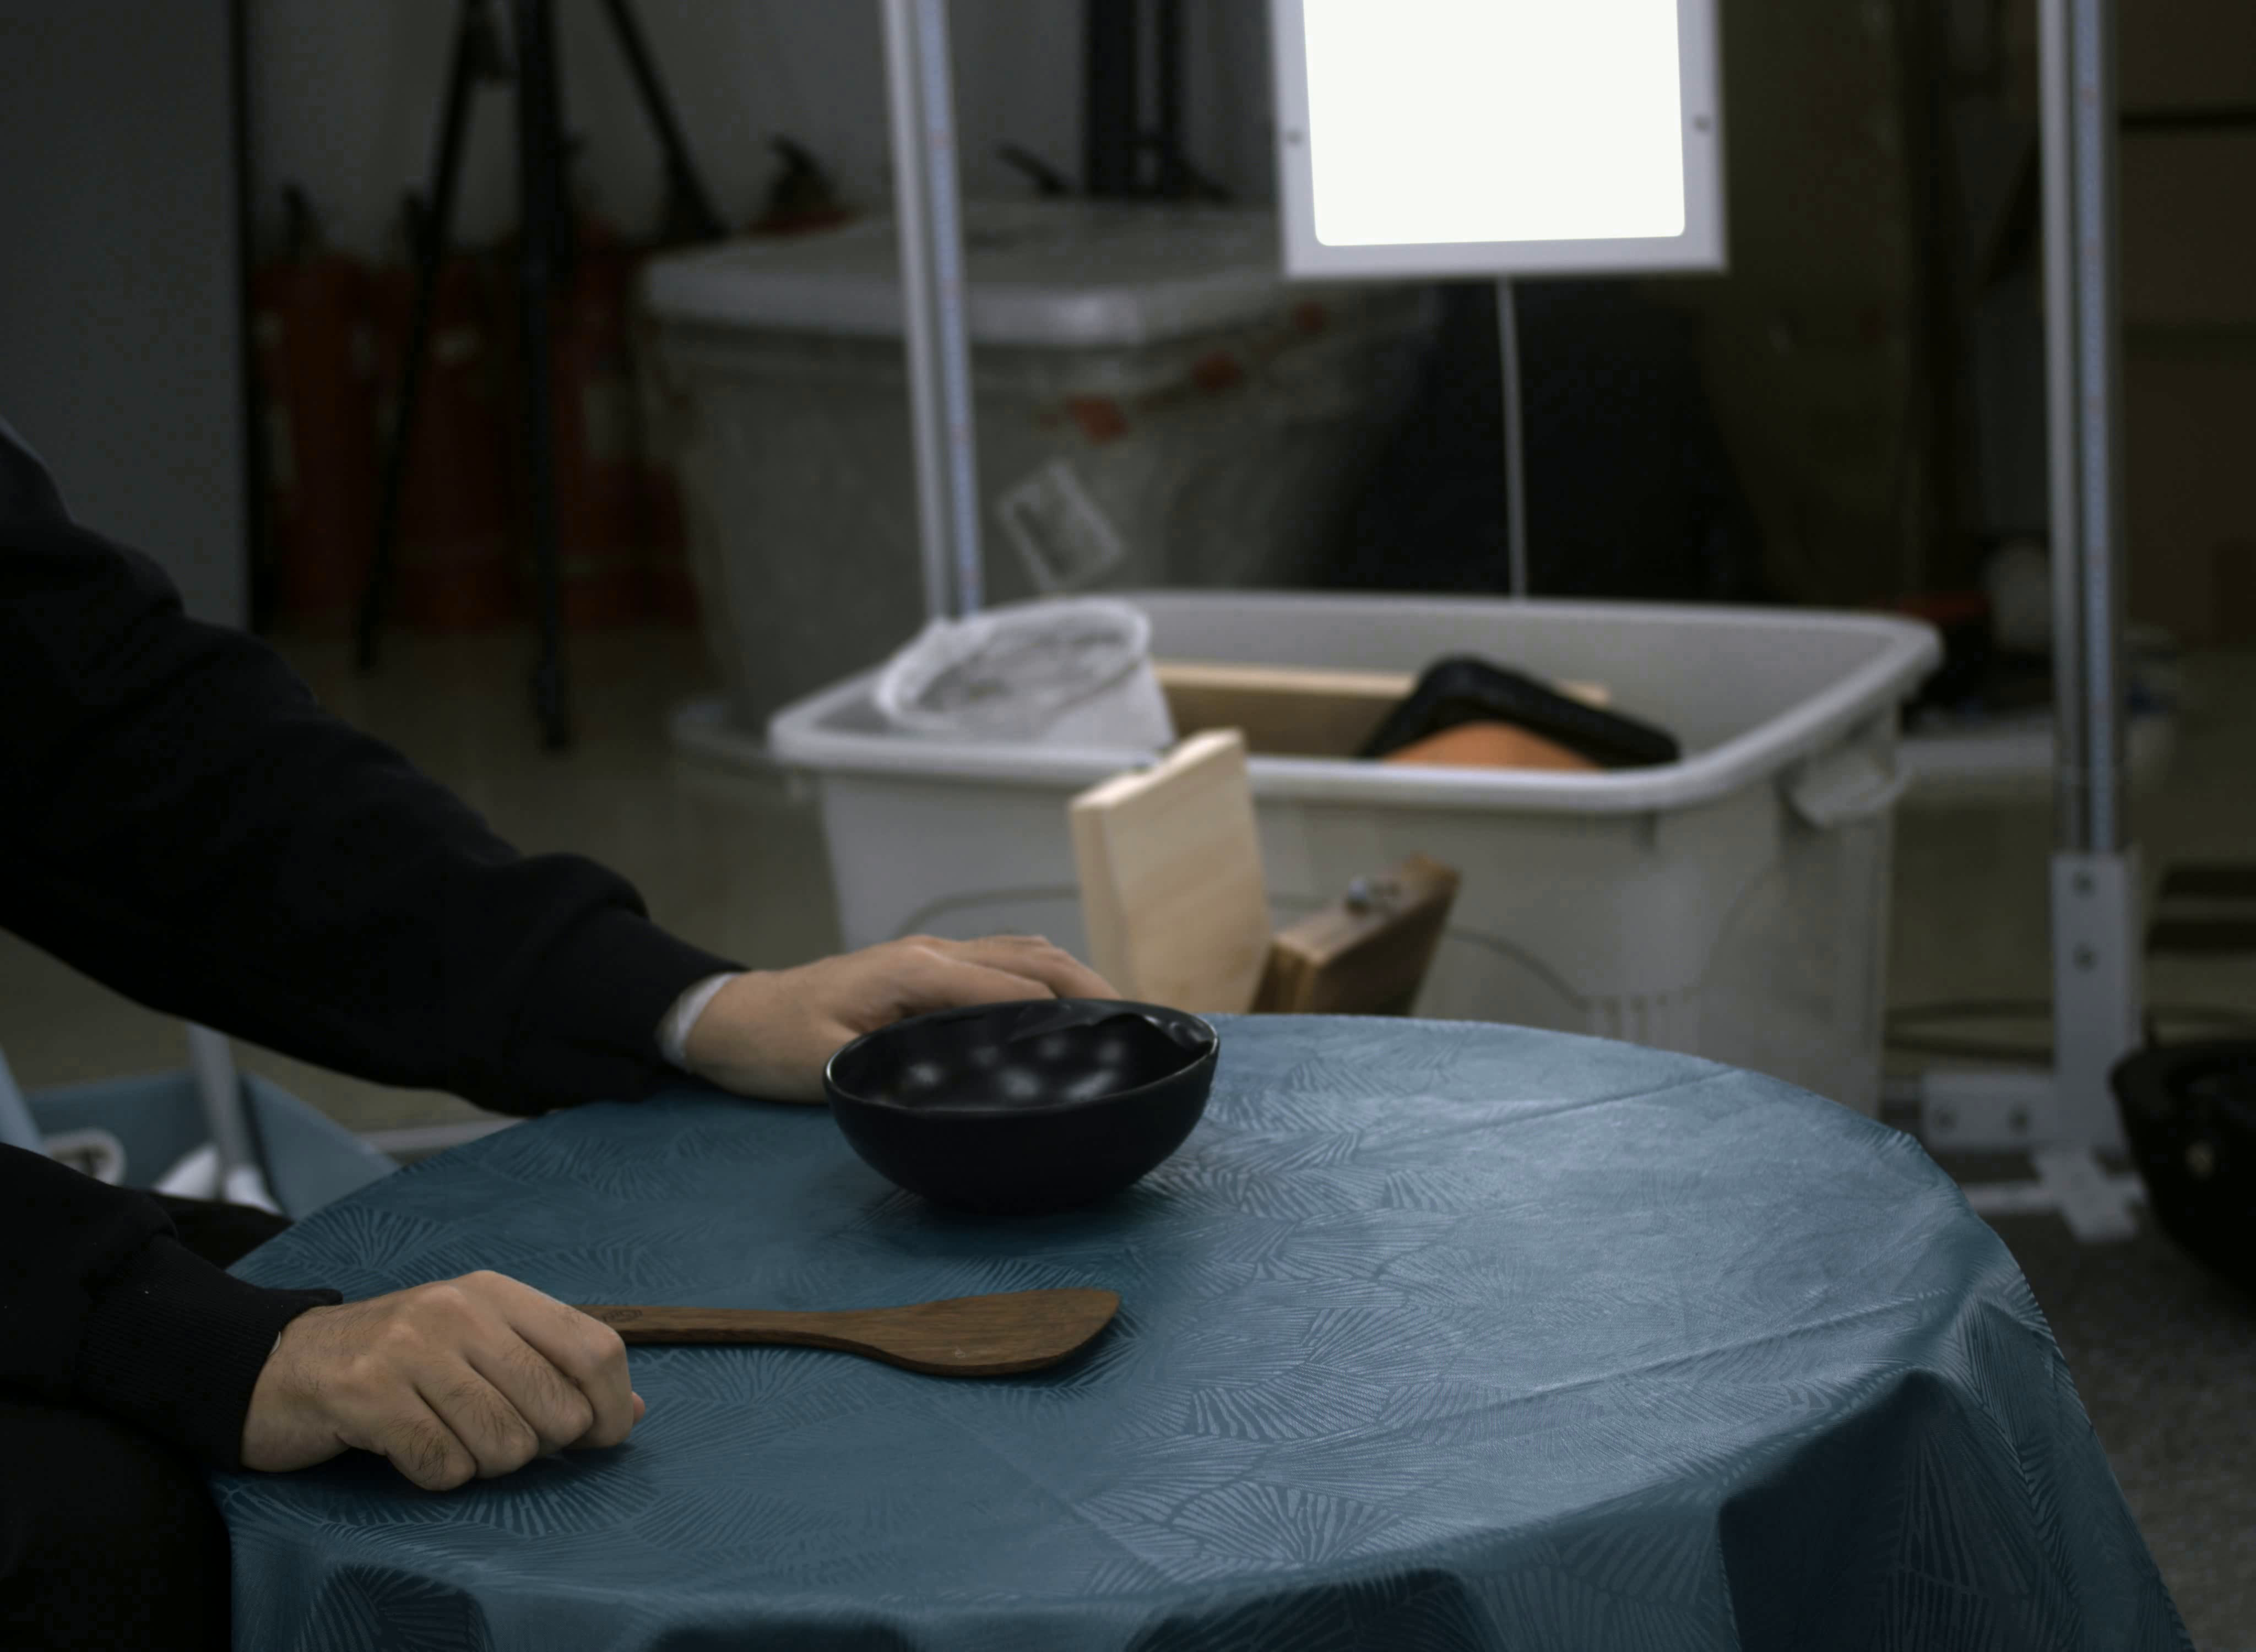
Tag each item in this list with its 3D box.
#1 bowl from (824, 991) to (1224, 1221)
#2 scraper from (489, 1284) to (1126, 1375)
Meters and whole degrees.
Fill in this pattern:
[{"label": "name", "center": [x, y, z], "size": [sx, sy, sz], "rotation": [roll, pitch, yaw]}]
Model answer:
[{"label": "bowl", "center": [-0.034, 0.102, 1.910], "size": [0.140, 0.050, 0.140], "rotation": [-6, 16, 0]}, {"label": "scraper", "center": [-0.105, 0.161, 1.776], "size": [0.214, 0.011, 0.074], "rotation": [-1, 13, 18]}]
